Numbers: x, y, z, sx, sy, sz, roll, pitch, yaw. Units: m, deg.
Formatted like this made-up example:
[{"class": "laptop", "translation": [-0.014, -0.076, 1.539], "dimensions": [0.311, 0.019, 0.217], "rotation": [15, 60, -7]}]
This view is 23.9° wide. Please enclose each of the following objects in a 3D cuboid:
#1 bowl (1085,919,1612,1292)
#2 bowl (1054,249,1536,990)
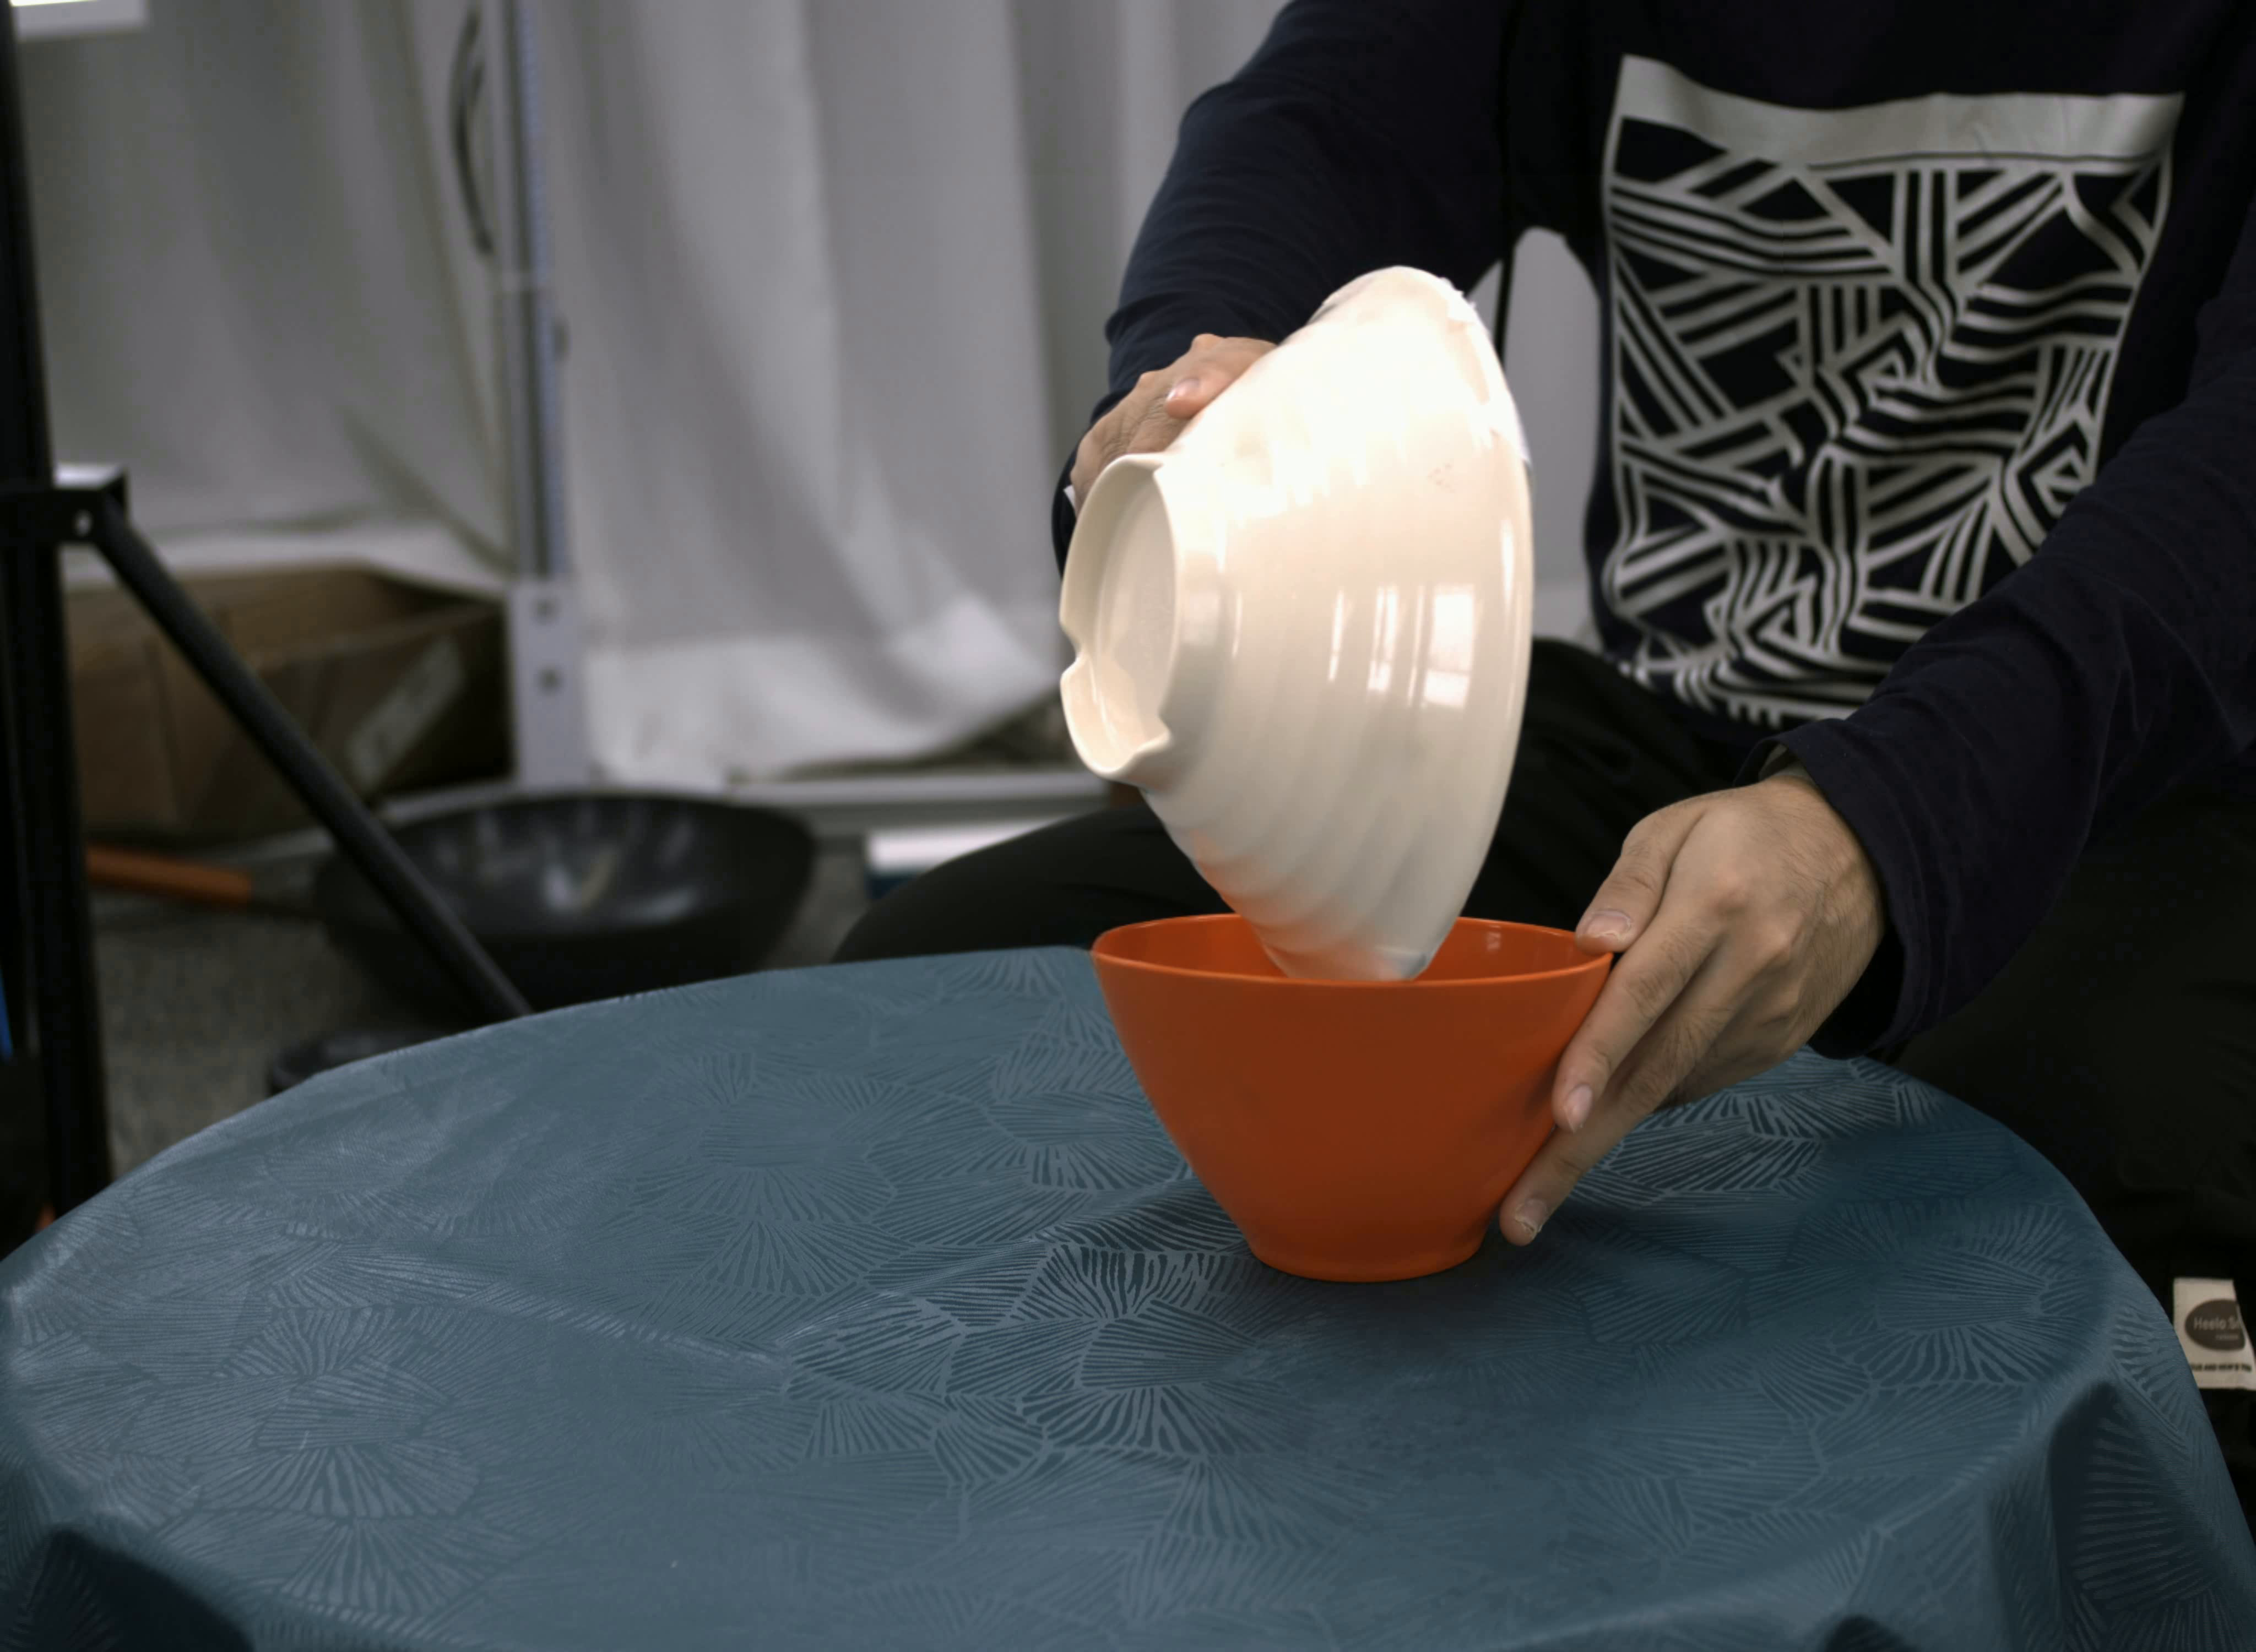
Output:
[{"class": "bowl", "translation": [0.062, 0.075, 1.488], "dimensions": [0.147, 0.105, 0.149], "rotation": [-2, 14, -1]}, {"class": "bowl", "translation": [0.031, -0.057, 1.435], "dimensions": [0.076, 0.204, 0.207], "rotation": [5, 12, -22]}]
